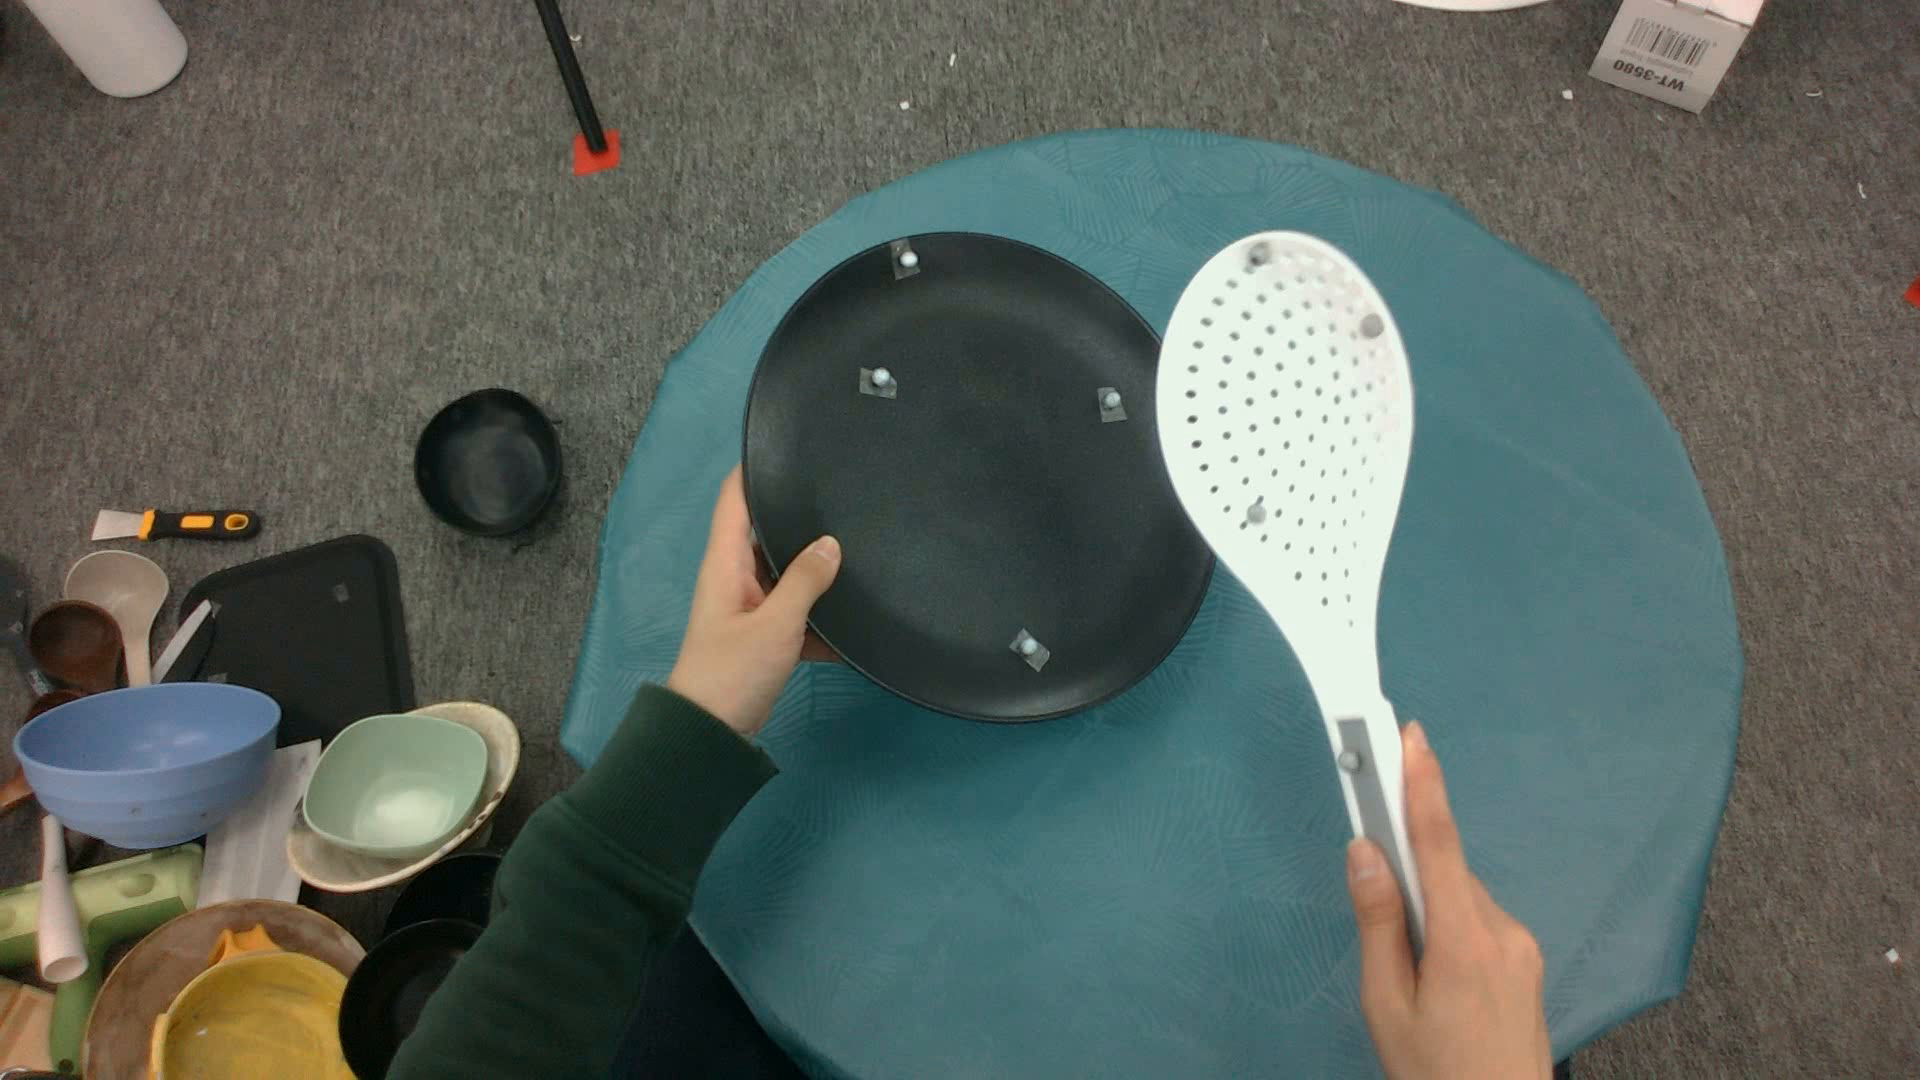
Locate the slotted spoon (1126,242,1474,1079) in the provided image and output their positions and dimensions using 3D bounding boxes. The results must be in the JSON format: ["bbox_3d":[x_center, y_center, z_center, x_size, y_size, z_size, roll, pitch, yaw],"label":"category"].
[{"bbox_3d":[0.144,0.052,0.547,0.046,0.135,0.350,-9,84,-29],"label":"slotted spoon"}]

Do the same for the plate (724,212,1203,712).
[{"bbox_3d":[0.007,-0.040,0.652,0.245,0.023,0.245,6,74,-21],"label":"plate"}]
